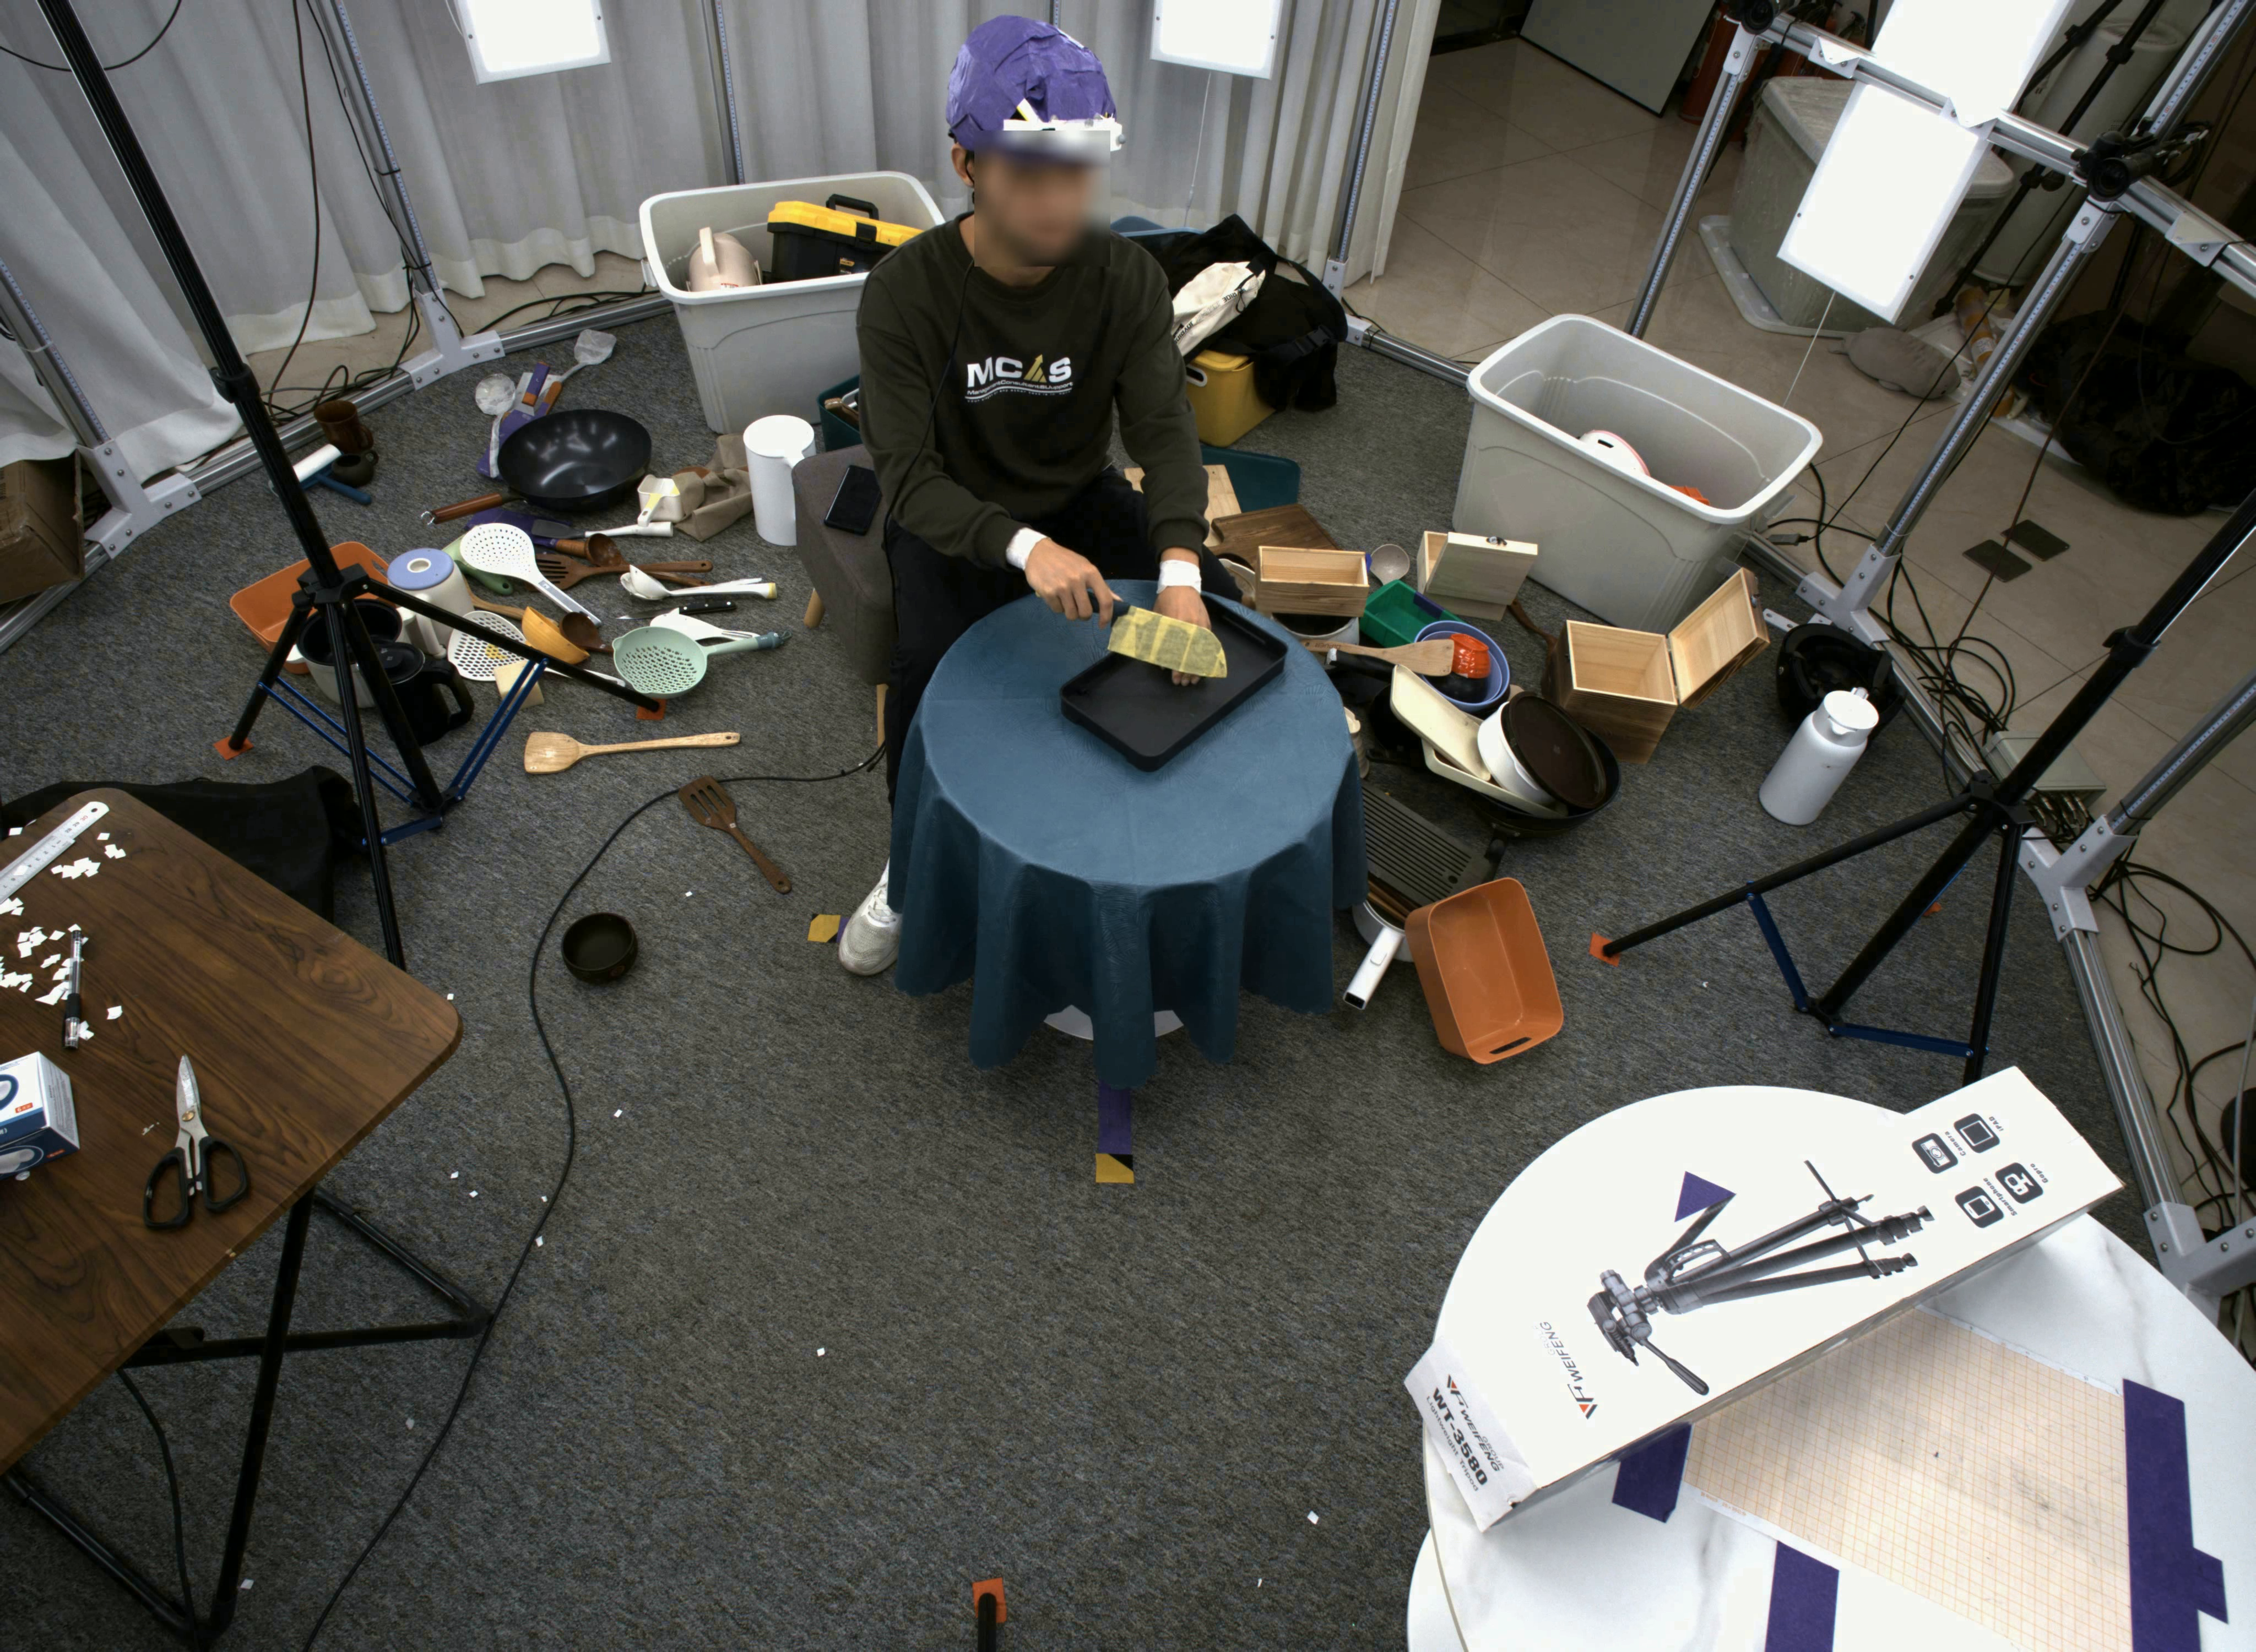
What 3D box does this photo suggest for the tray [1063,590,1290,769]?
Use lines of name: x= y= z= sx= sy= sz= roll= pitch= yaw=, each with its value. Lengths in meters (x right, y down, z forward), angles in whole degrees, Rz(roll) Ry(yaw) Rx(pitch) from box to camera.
tray: x=0.072 y=-0.215 z=1.834 sx=0.187 sy=0.036 sz=0.321 roll=34 pitch=55 yaw=23

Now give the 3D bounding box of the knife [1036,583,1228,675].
knife: x=0.005 y=-0.277 z=1.804 sx=0.289 sy=0.080 sz=0.027 roll=20 pitch=24 yaw=0
